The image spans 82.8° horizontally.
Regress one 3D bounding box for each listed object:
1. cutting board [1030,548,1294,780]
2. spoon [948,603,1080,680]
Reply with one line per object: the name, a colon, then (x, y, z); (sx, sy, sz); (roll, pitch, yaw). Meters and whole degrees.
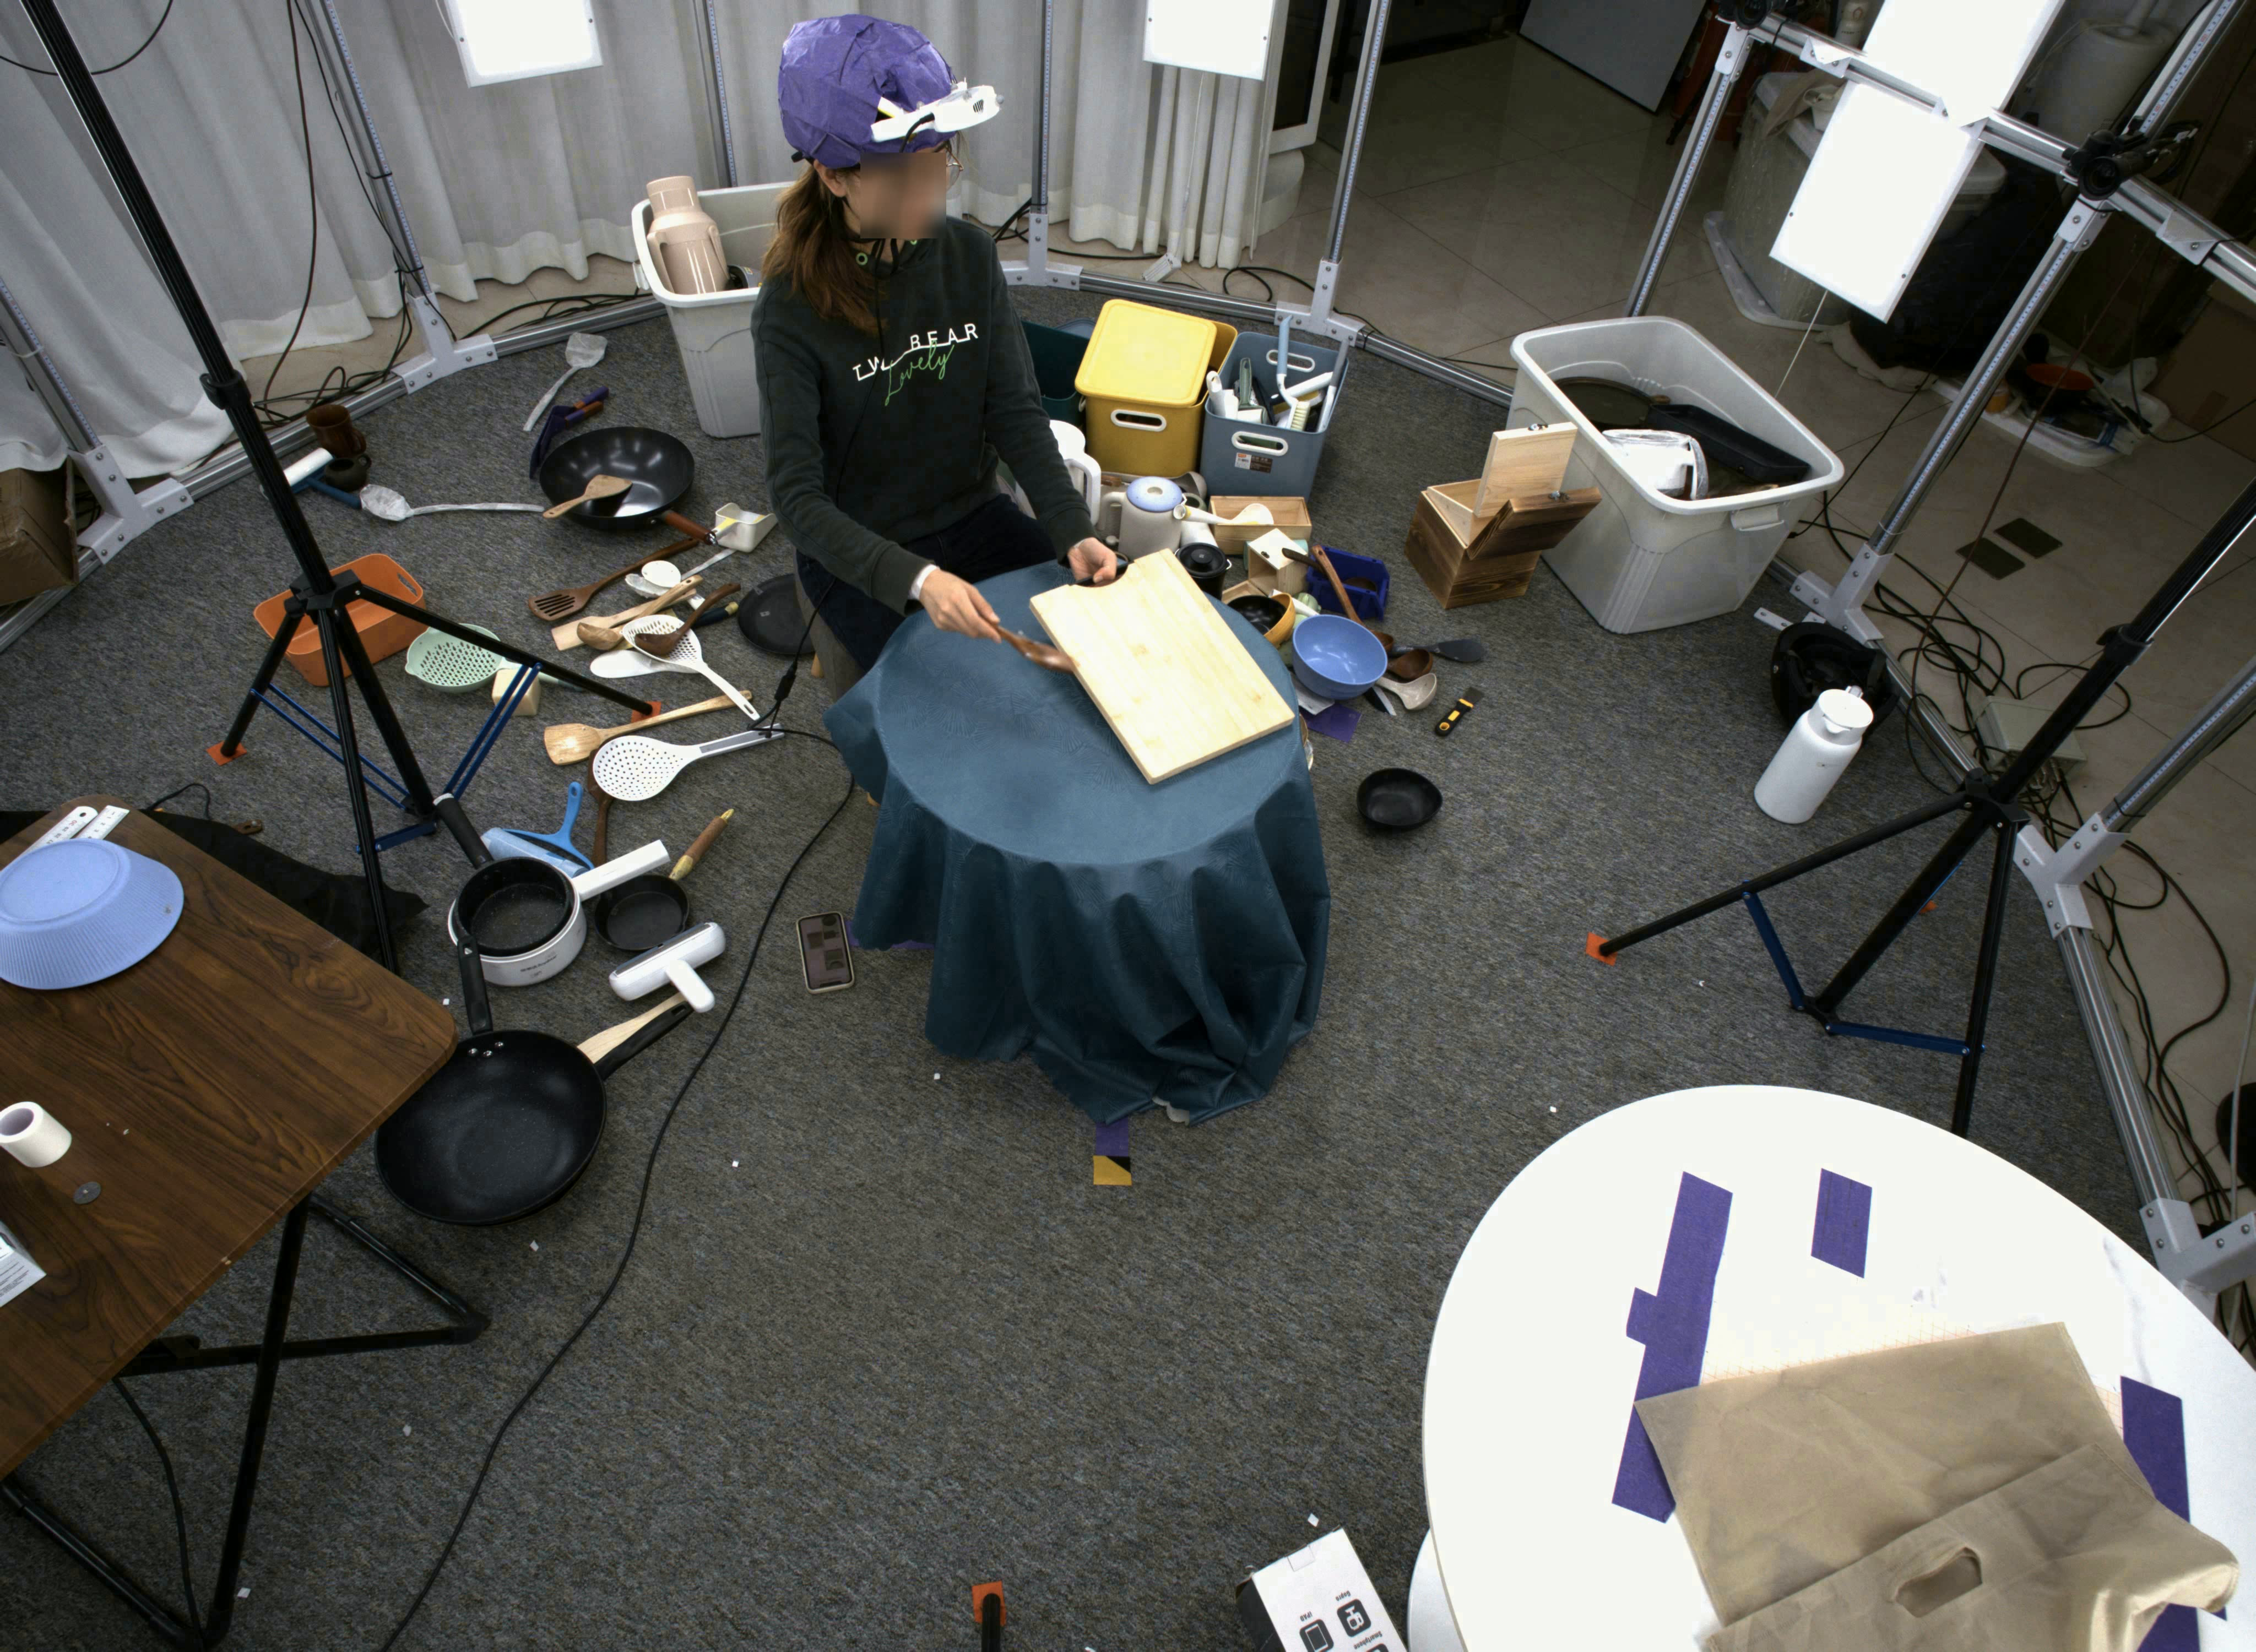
cutting board: (0.045, -0.239, 1.844); (0.251, 0.023, 0.354); (-24, 64, -23)
spoon: (-0.154, -0.243, 1.702); (0.218, 0.017, 0.076); (33, 27, 23)
